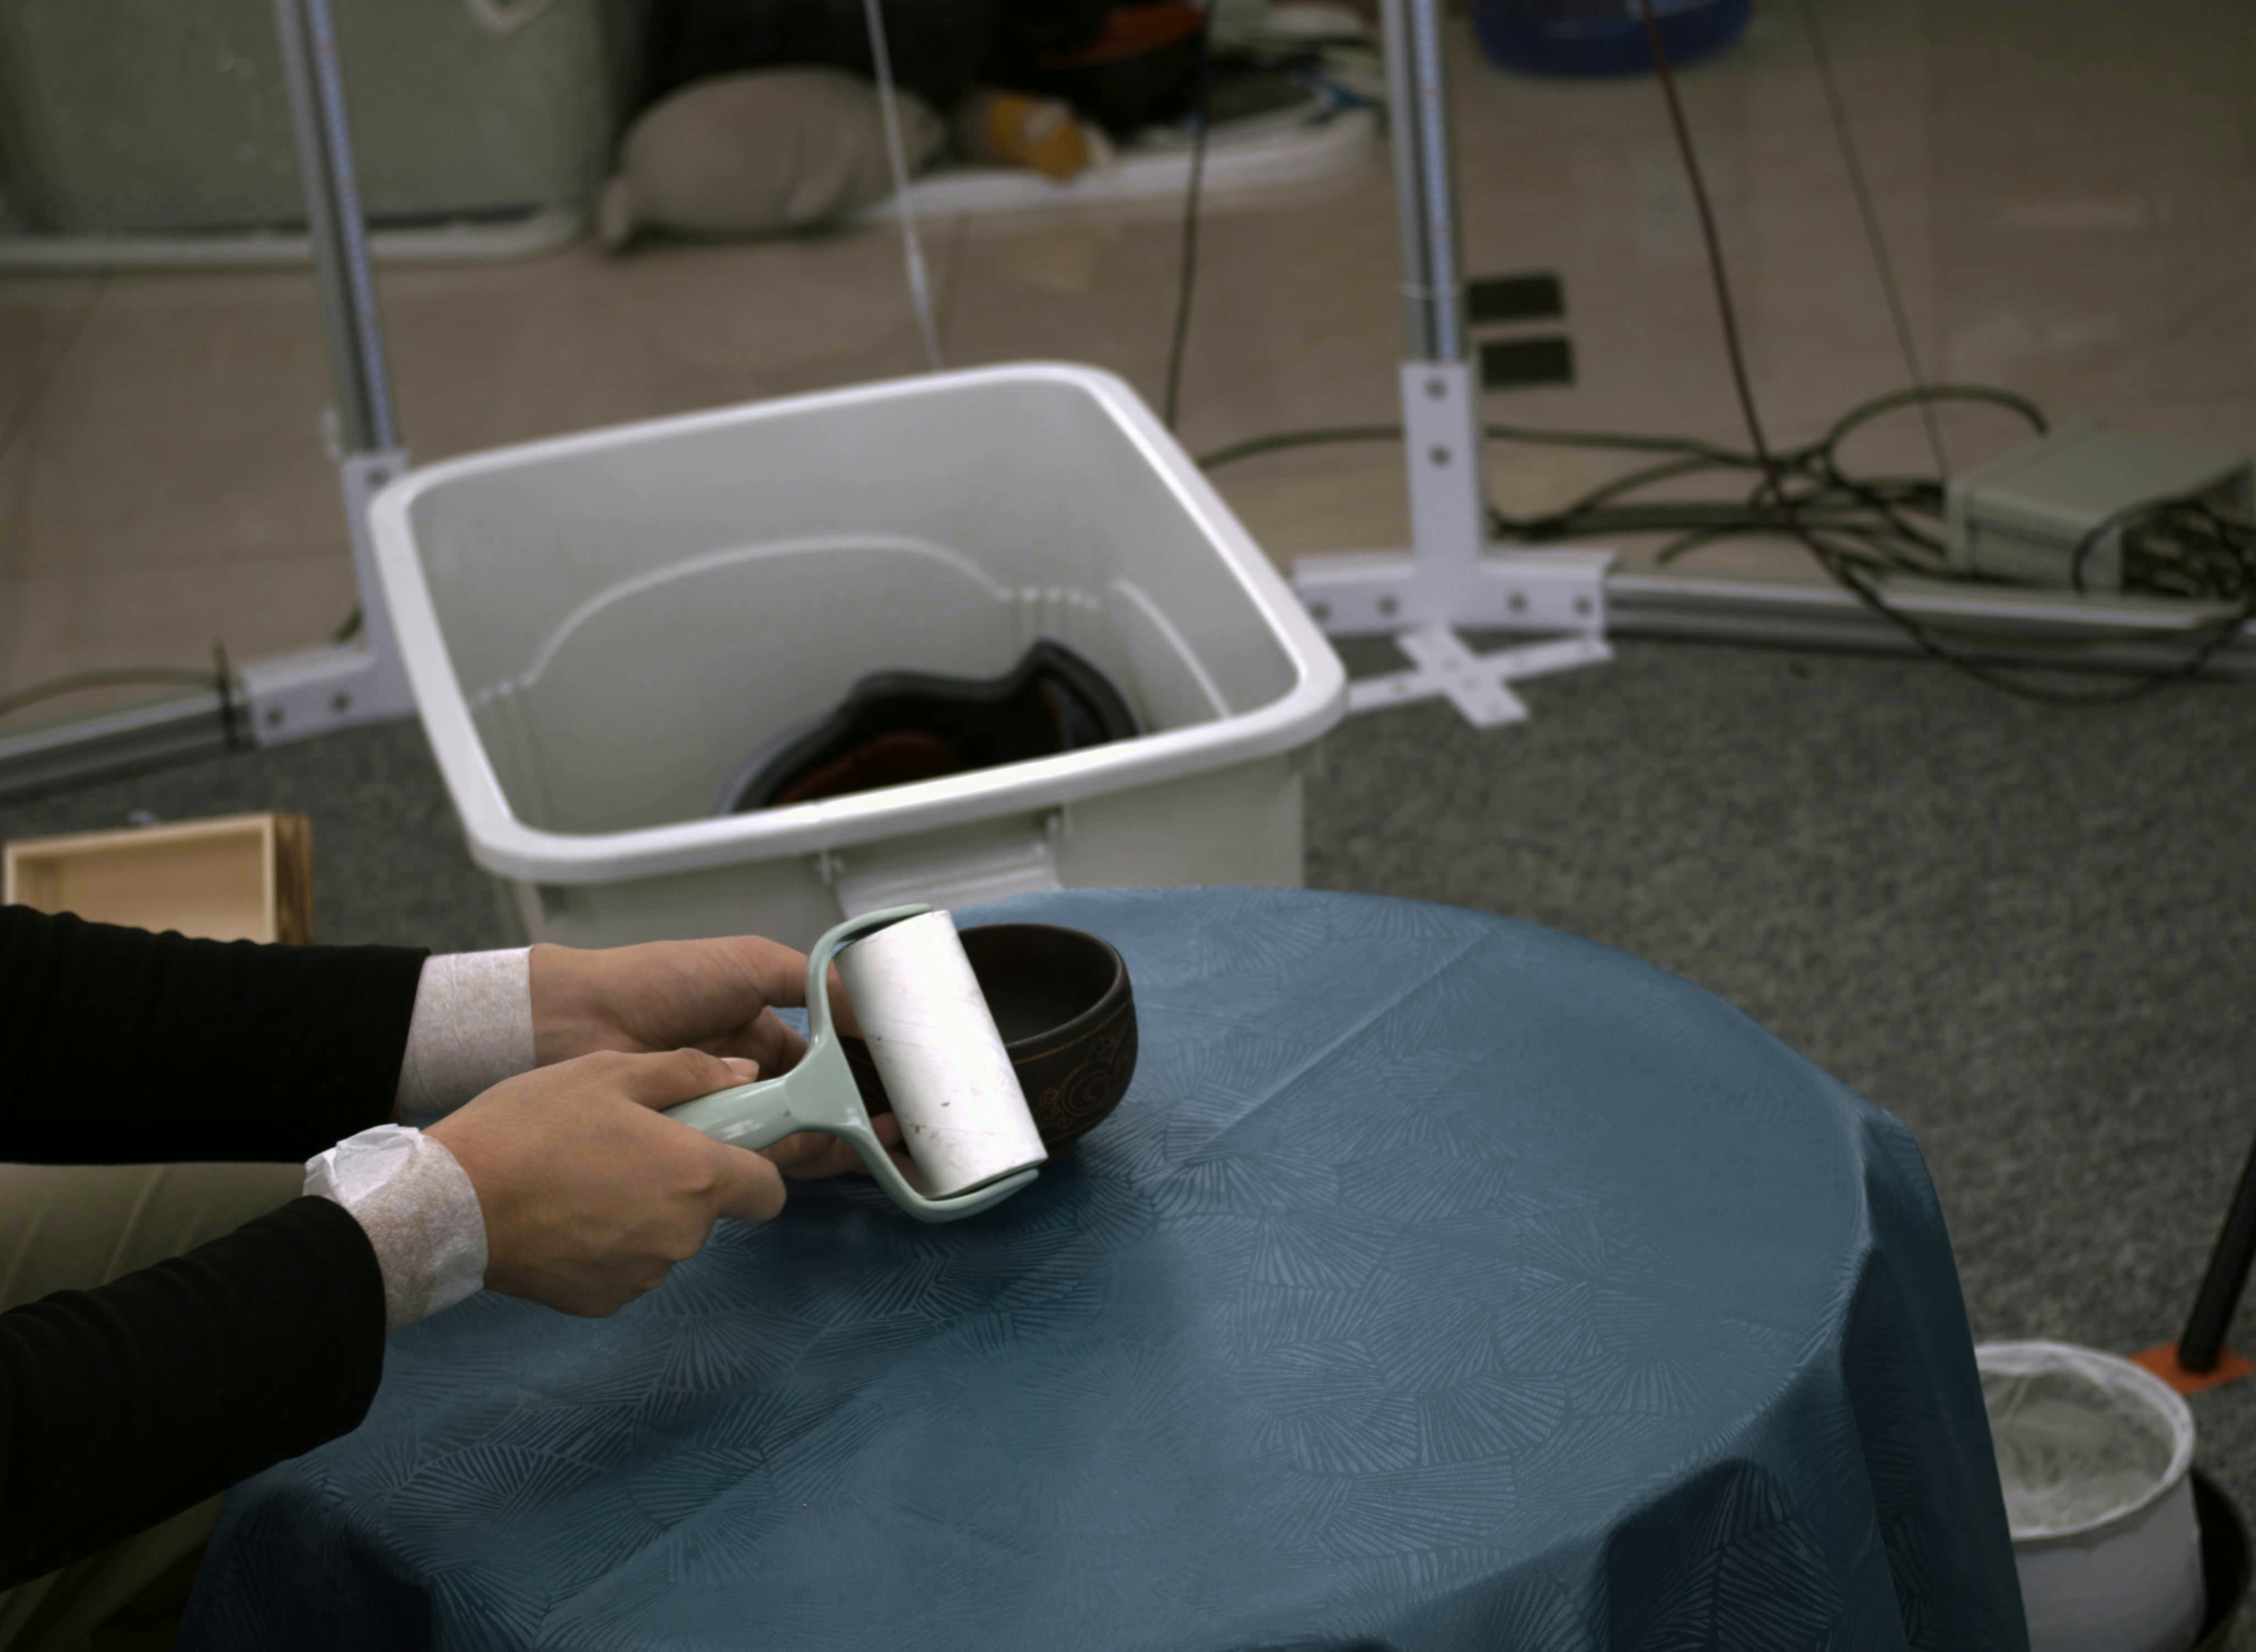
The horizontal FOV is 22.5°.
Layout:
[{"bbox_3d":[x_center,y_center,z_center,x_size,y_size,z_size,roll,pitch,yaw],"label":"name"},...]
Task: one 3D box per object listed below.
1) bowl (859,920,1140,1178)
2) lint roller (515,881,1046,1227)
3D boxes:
[{"bbox_3d":[-0.052,0.092,2.175,0.118,0.071,0.116,-7,26,4],"label":"bowl"},{"bbox_3d":[-0.132,0.098,2.052,0.196,0.116,0.049,-19,-5,-30],"label":"lint roller"}]
